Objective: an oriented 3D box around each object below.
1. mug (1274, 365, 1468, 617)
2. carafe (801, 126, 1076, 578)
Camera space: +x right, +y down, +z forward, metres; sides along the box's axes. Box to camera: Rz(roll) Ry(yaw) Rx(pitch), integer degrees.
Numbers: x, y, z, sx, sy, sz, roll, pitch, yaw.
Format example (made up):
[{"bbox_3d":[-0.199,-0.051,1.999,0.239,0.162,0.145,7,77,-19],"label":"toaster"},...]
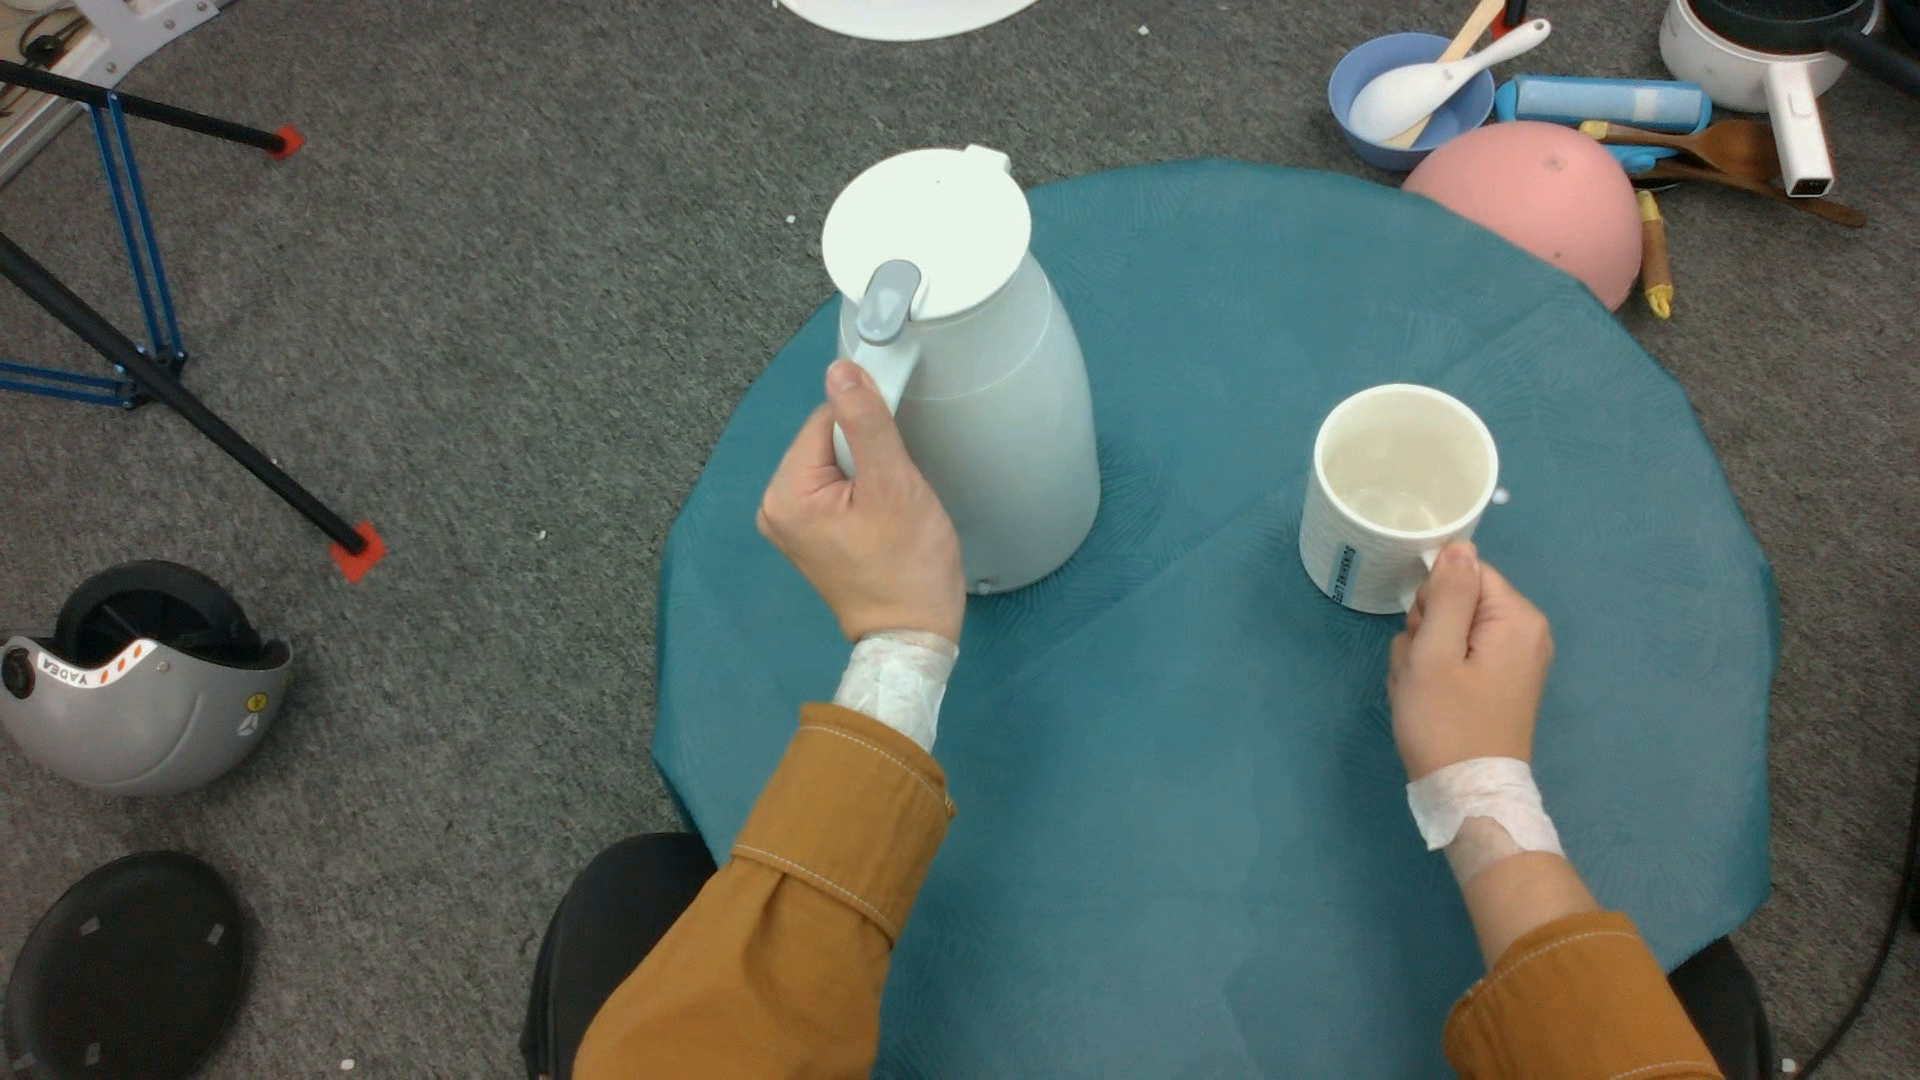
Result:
[{"bbox_3d":[0.215,-0.015,0.712,0.085,0.101,0.118,-19,63,-2],"label":"mug"},{"bbox_3d":[-0.018,-0.074,0.688,0.132,0.248,0.168,19,68,15],"label":"carafe"}]
